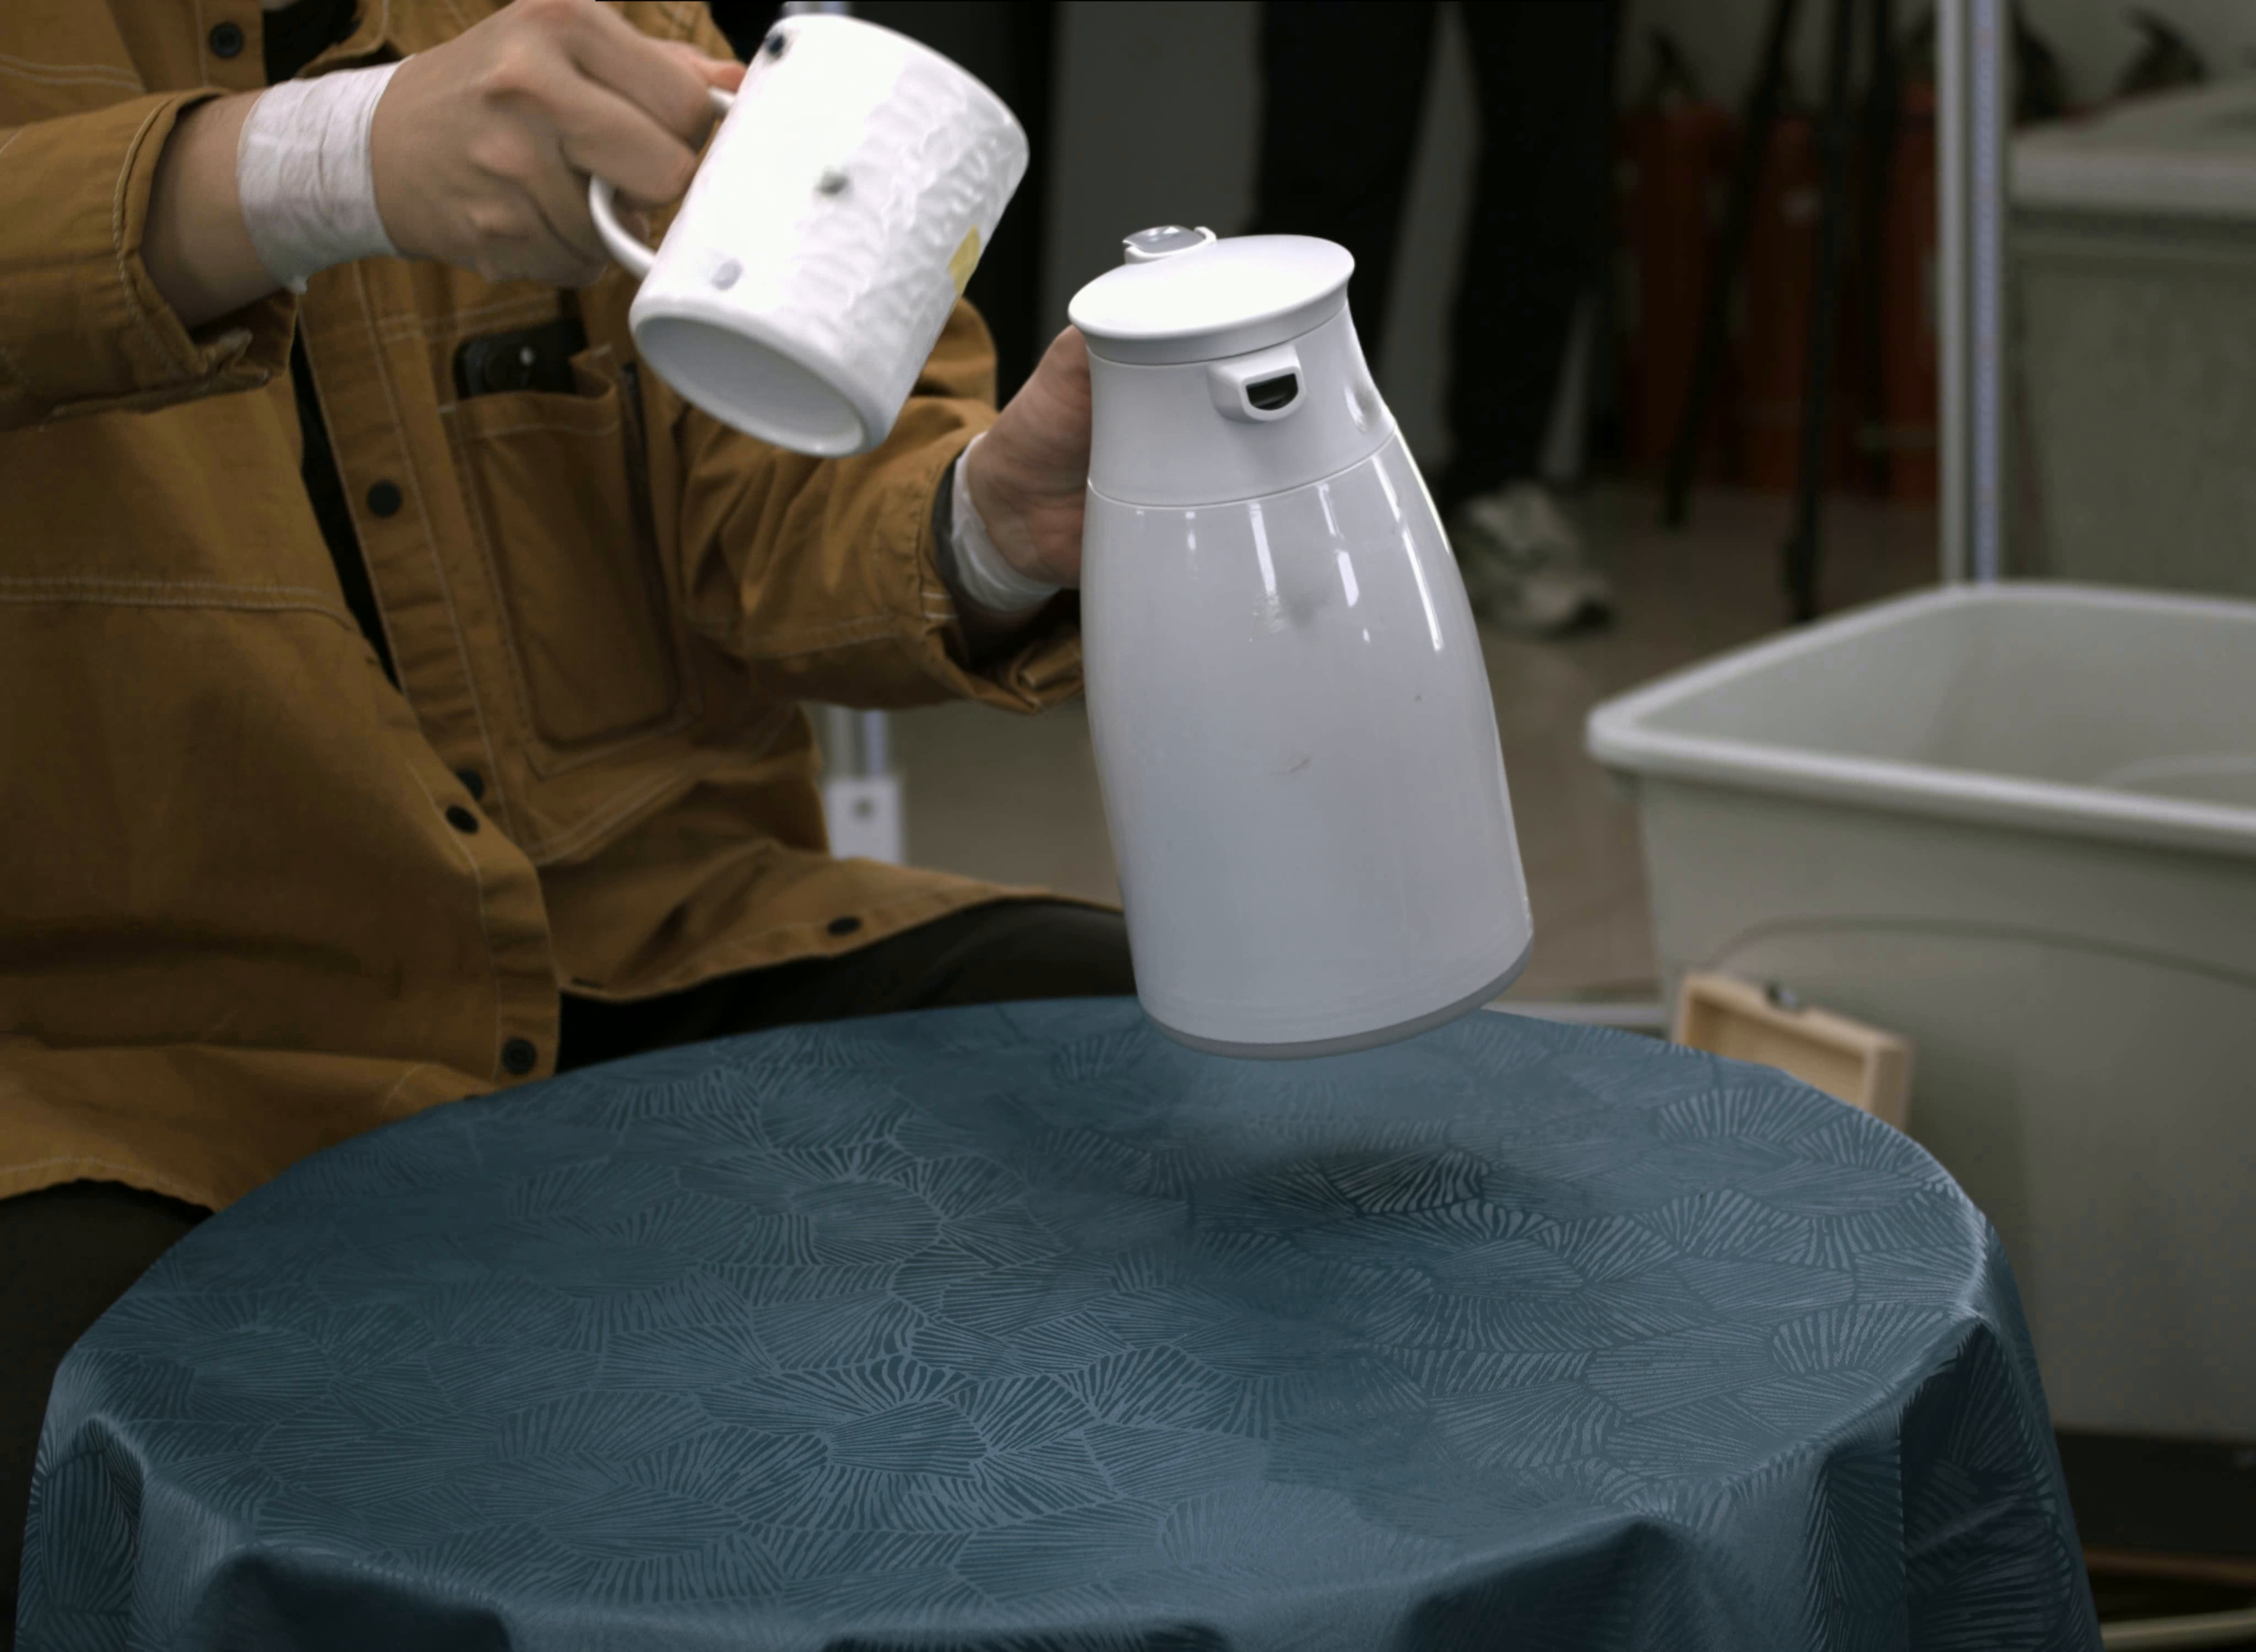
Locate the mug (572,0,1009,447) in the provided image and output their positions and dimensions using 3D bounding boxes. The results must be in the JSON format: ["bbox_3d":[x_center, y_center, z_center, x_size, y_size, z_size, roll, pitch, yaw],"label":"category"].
[{"bbox_3d":[-0.106,-0.178,1.567,0.118,0.102,0.084,18,-19,17],"label":"mug"}]

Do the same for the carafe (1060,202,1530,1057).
[{"bbox_3d":[0.039,-0.073,1.737,0.130,0.250,0.169,-16,21,-10],"label":"carafe"}]
